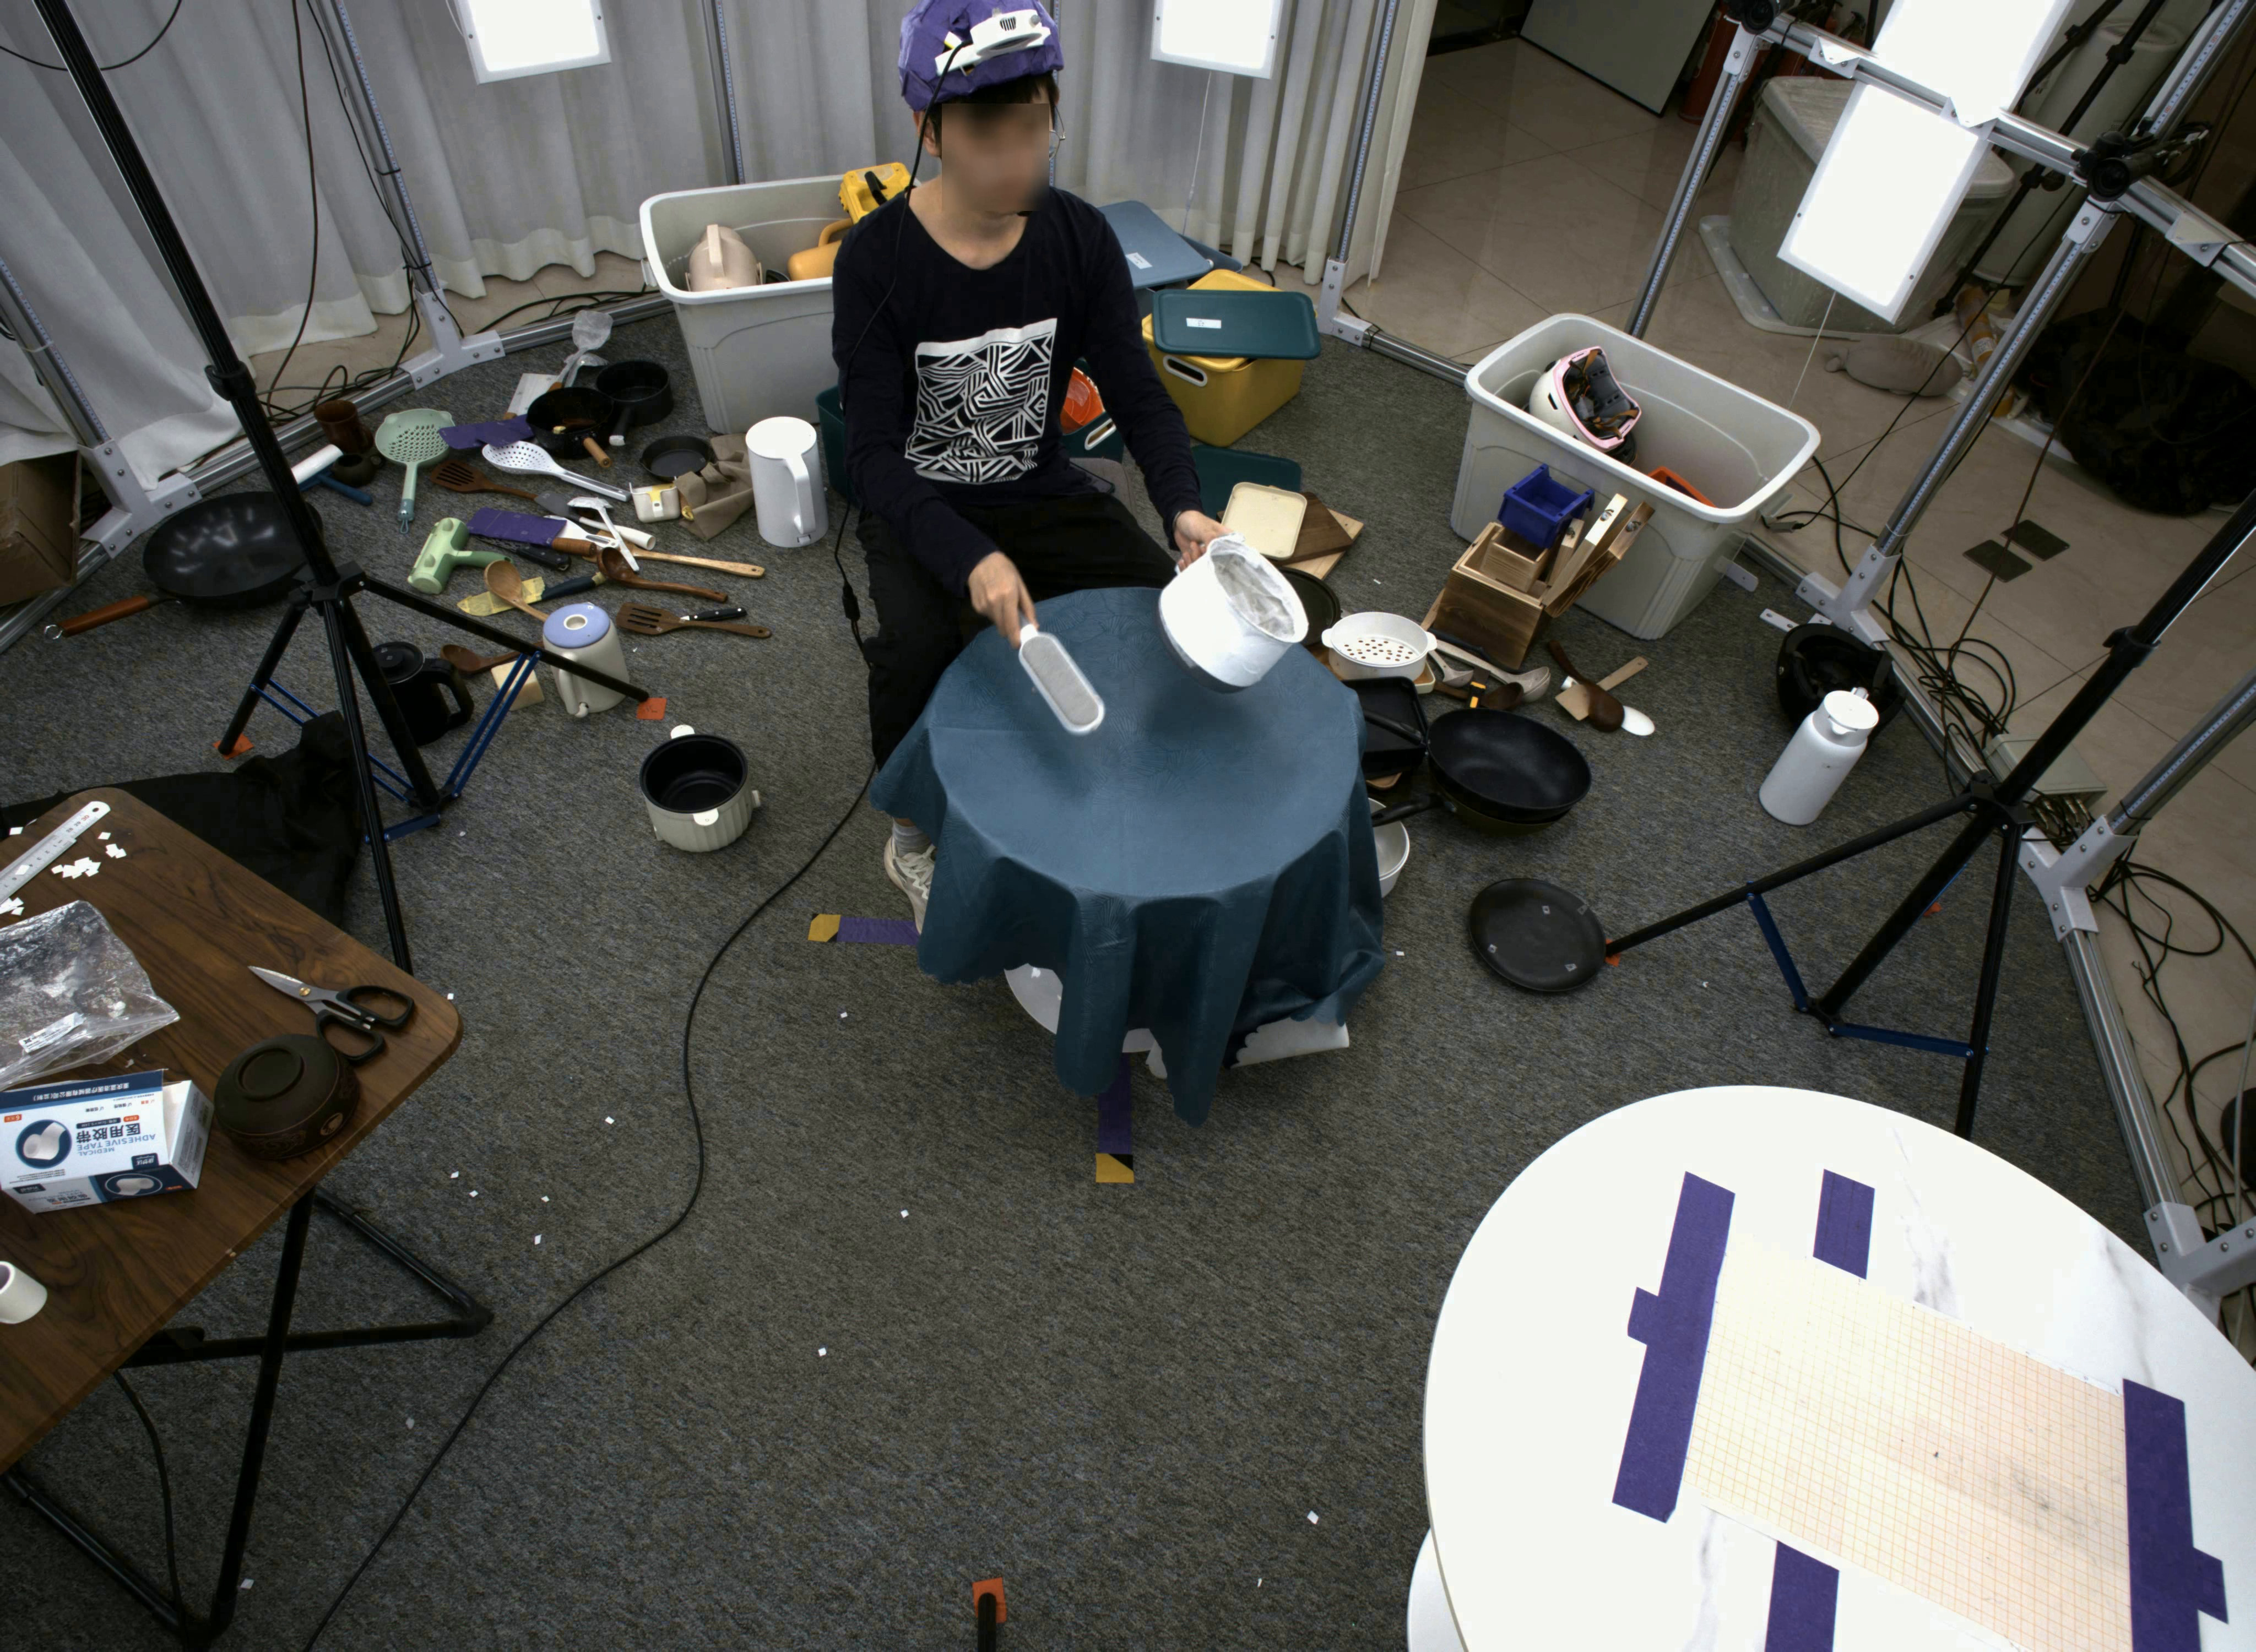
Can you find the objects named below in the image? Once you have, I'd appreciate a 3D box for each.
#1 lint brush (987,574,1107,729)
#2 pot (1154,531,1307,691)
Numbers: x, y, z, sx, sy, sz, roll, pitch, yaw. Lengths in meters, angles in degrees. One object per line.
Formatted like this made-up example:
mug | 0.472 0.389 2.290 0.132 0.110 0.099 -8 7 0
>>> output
lint brush | -0.117 -0.245 1.755 0.060 0.020 0.315 -35 58 0
pot | 0.128 -0.303 1.738 0.176 0.135 0.239 21 44 -39
